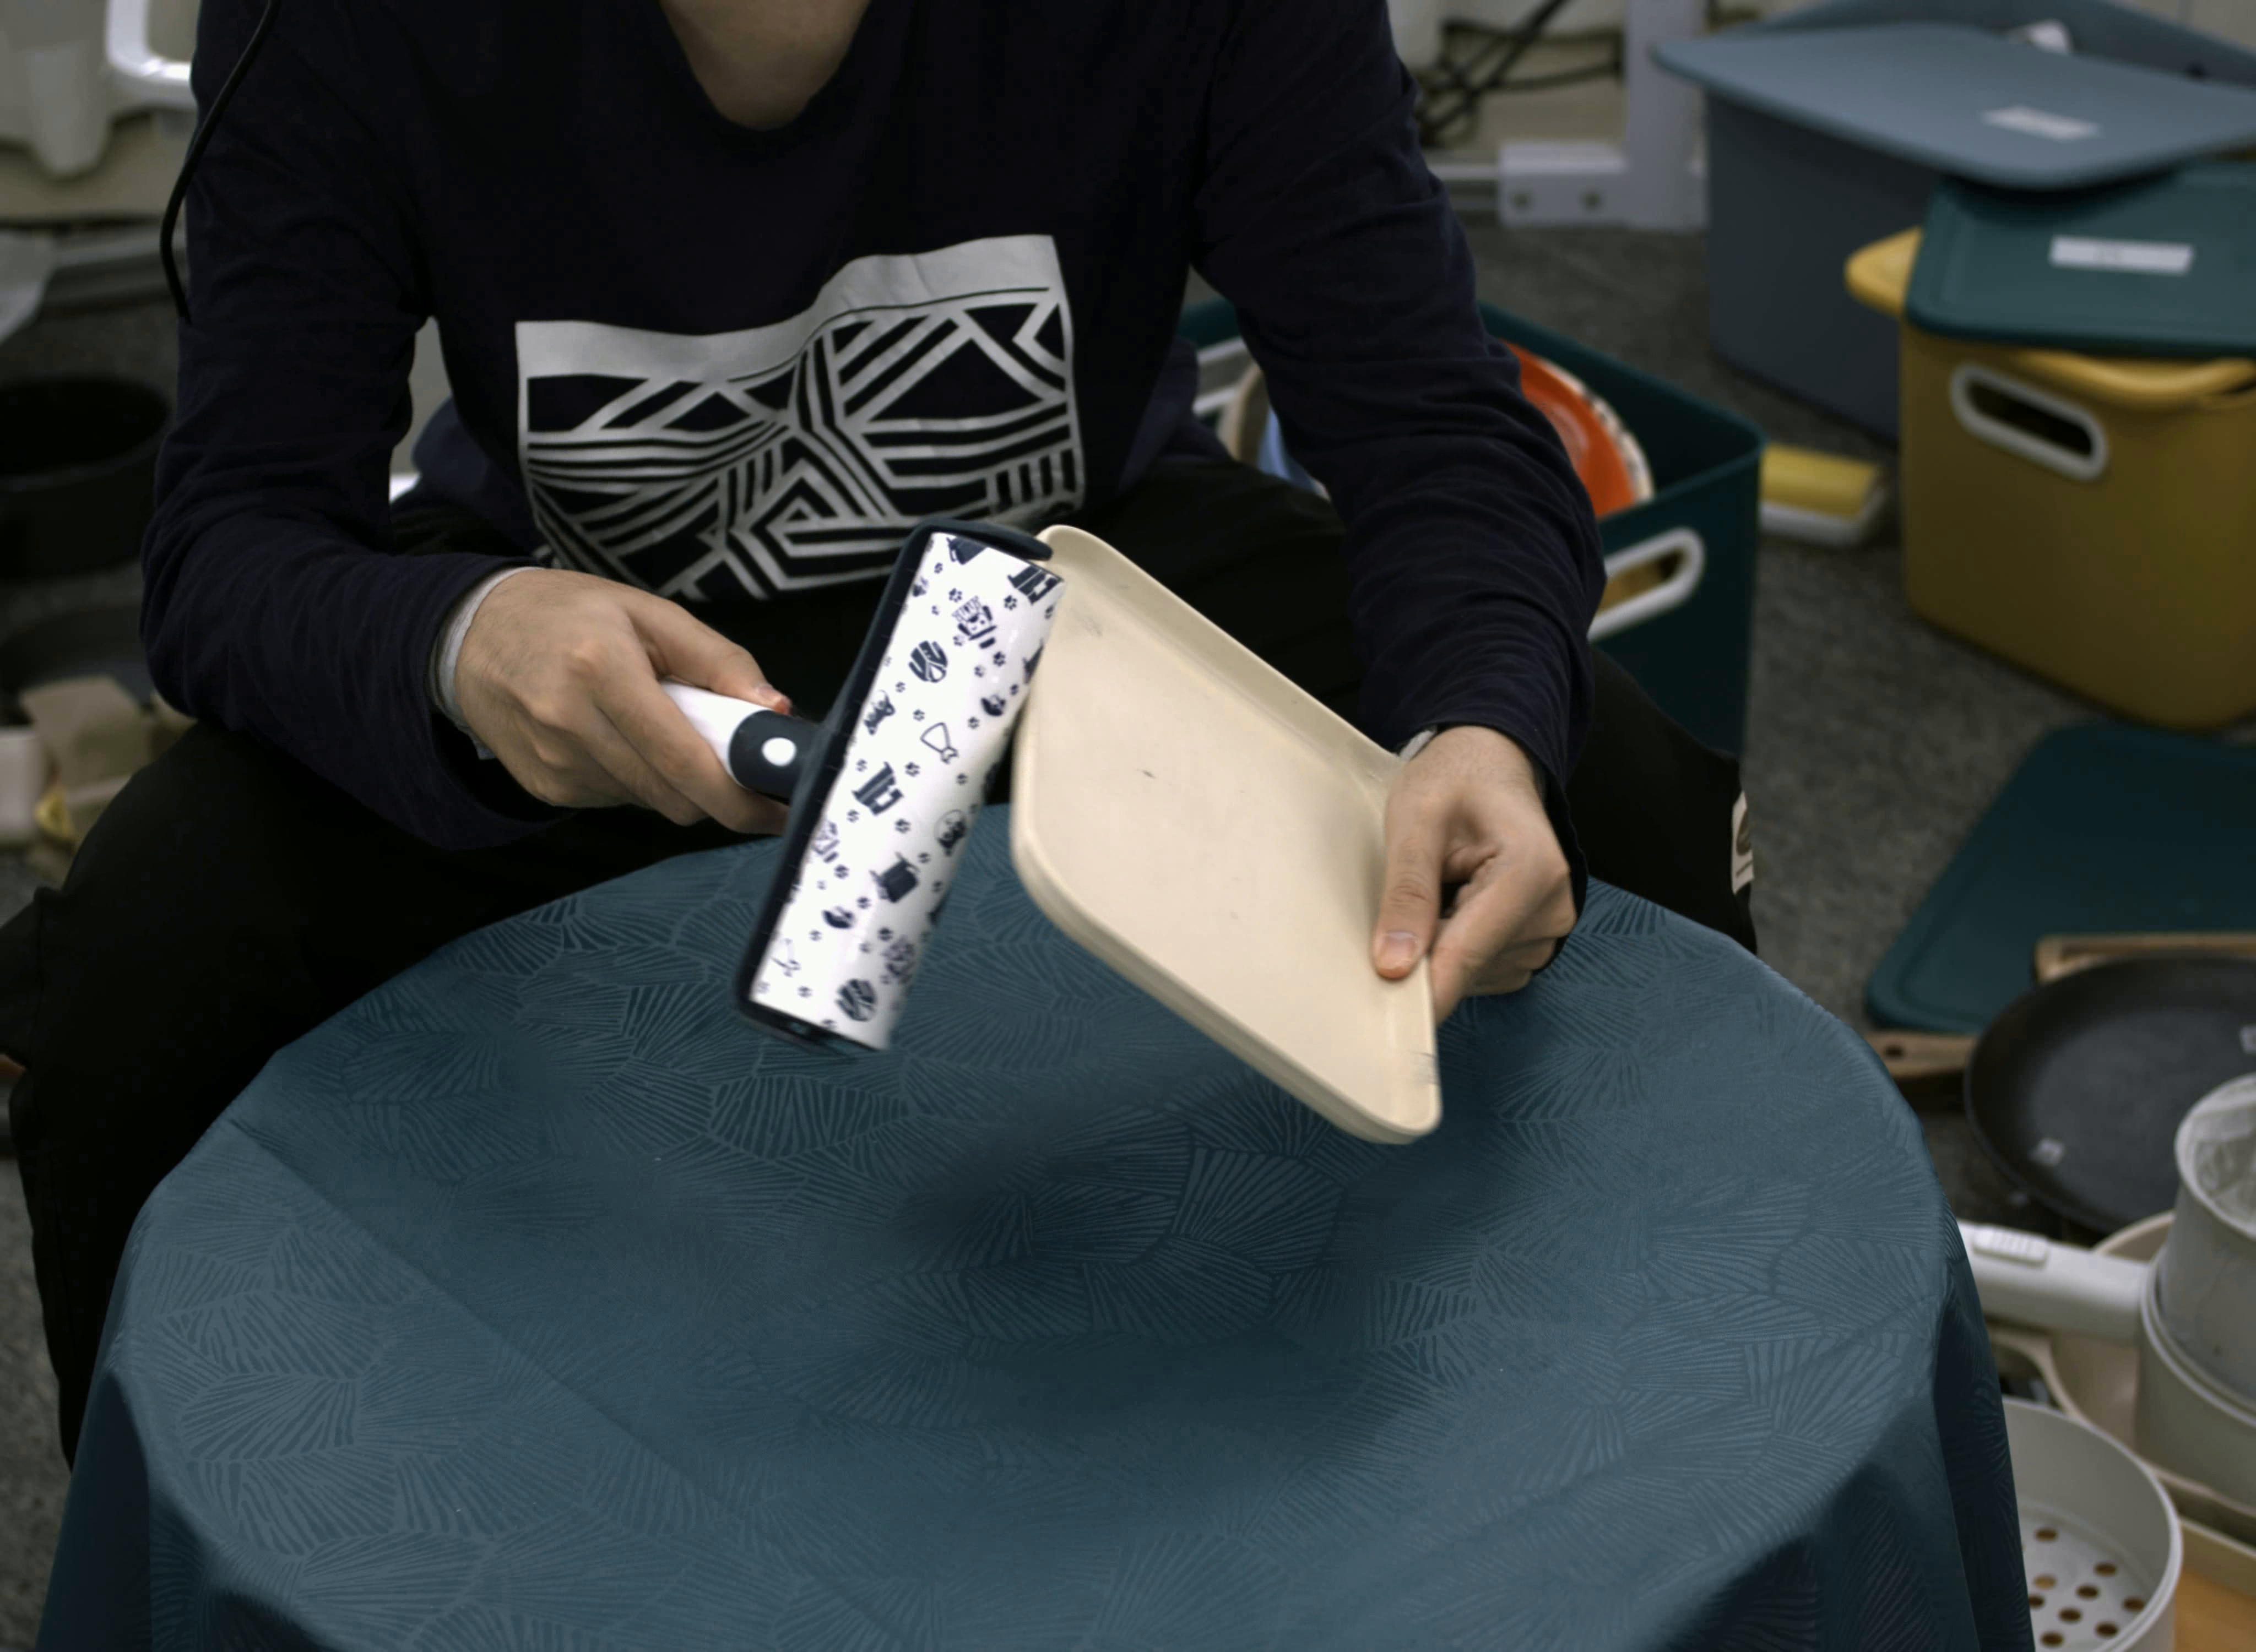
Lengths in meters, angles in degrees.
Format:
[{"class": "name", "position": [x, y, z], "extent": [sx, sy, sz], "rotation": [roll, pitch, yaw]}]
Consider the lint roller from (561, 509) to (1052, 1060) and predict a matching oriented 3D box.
[{"class": "lint roller", "position": [-0.129, -0.026, 1.850], "extent": [0.050, 0.177, 0.246], "rotation": [25, -7, -35]}]

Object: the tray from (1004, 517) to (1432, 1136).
[{"class": "tray", "position": [0.027, -0.001, 1.820], "extent": [0.170, 0.017, 0.243], "rotation": [36, 25, -18]}]
